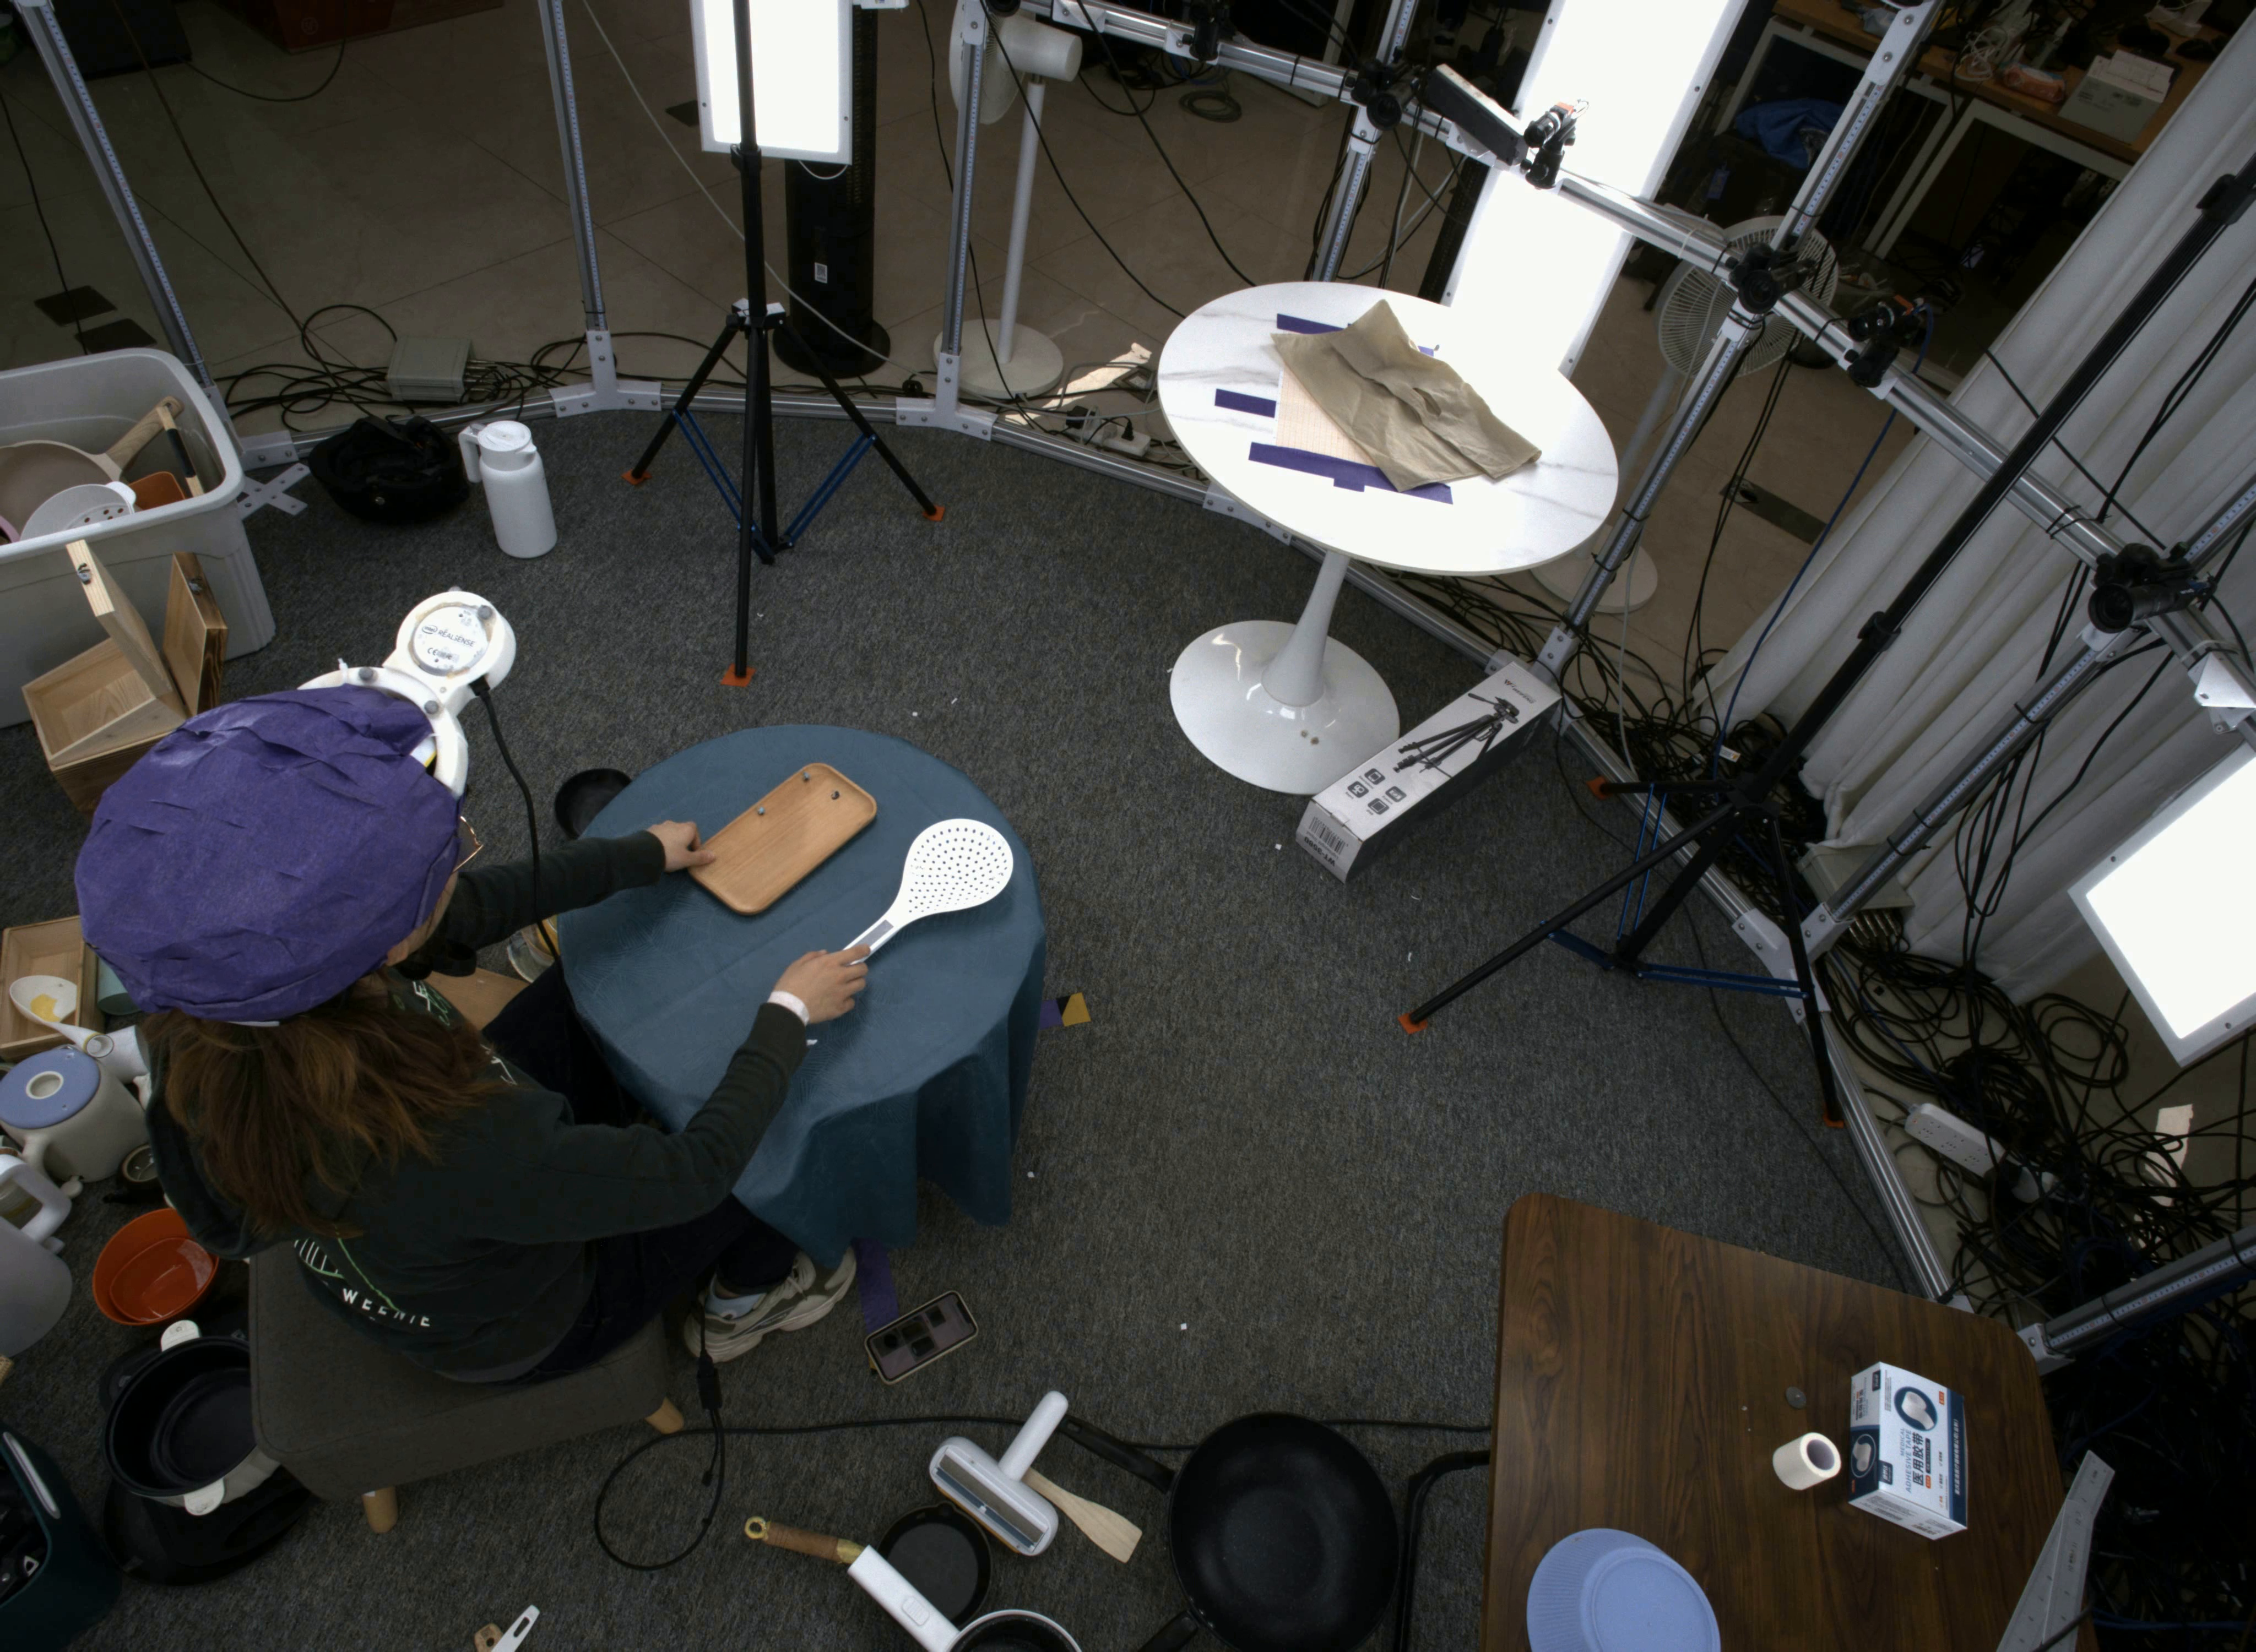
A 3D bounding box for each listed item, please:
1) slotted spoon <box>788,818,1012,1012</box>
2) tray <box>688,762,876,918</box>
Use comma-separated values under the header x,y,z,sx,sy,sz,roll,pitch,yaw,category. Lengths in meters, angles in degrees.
x,y,z,sx,sy,sz,roll,pitch,yaw,category
-0.290,0.112,1.651,0.133,0.047,0.350,38,55,17,slotted spoon
-0.451,0.015,1.701,0.128,0.023,0.250,35,54,14,tray
